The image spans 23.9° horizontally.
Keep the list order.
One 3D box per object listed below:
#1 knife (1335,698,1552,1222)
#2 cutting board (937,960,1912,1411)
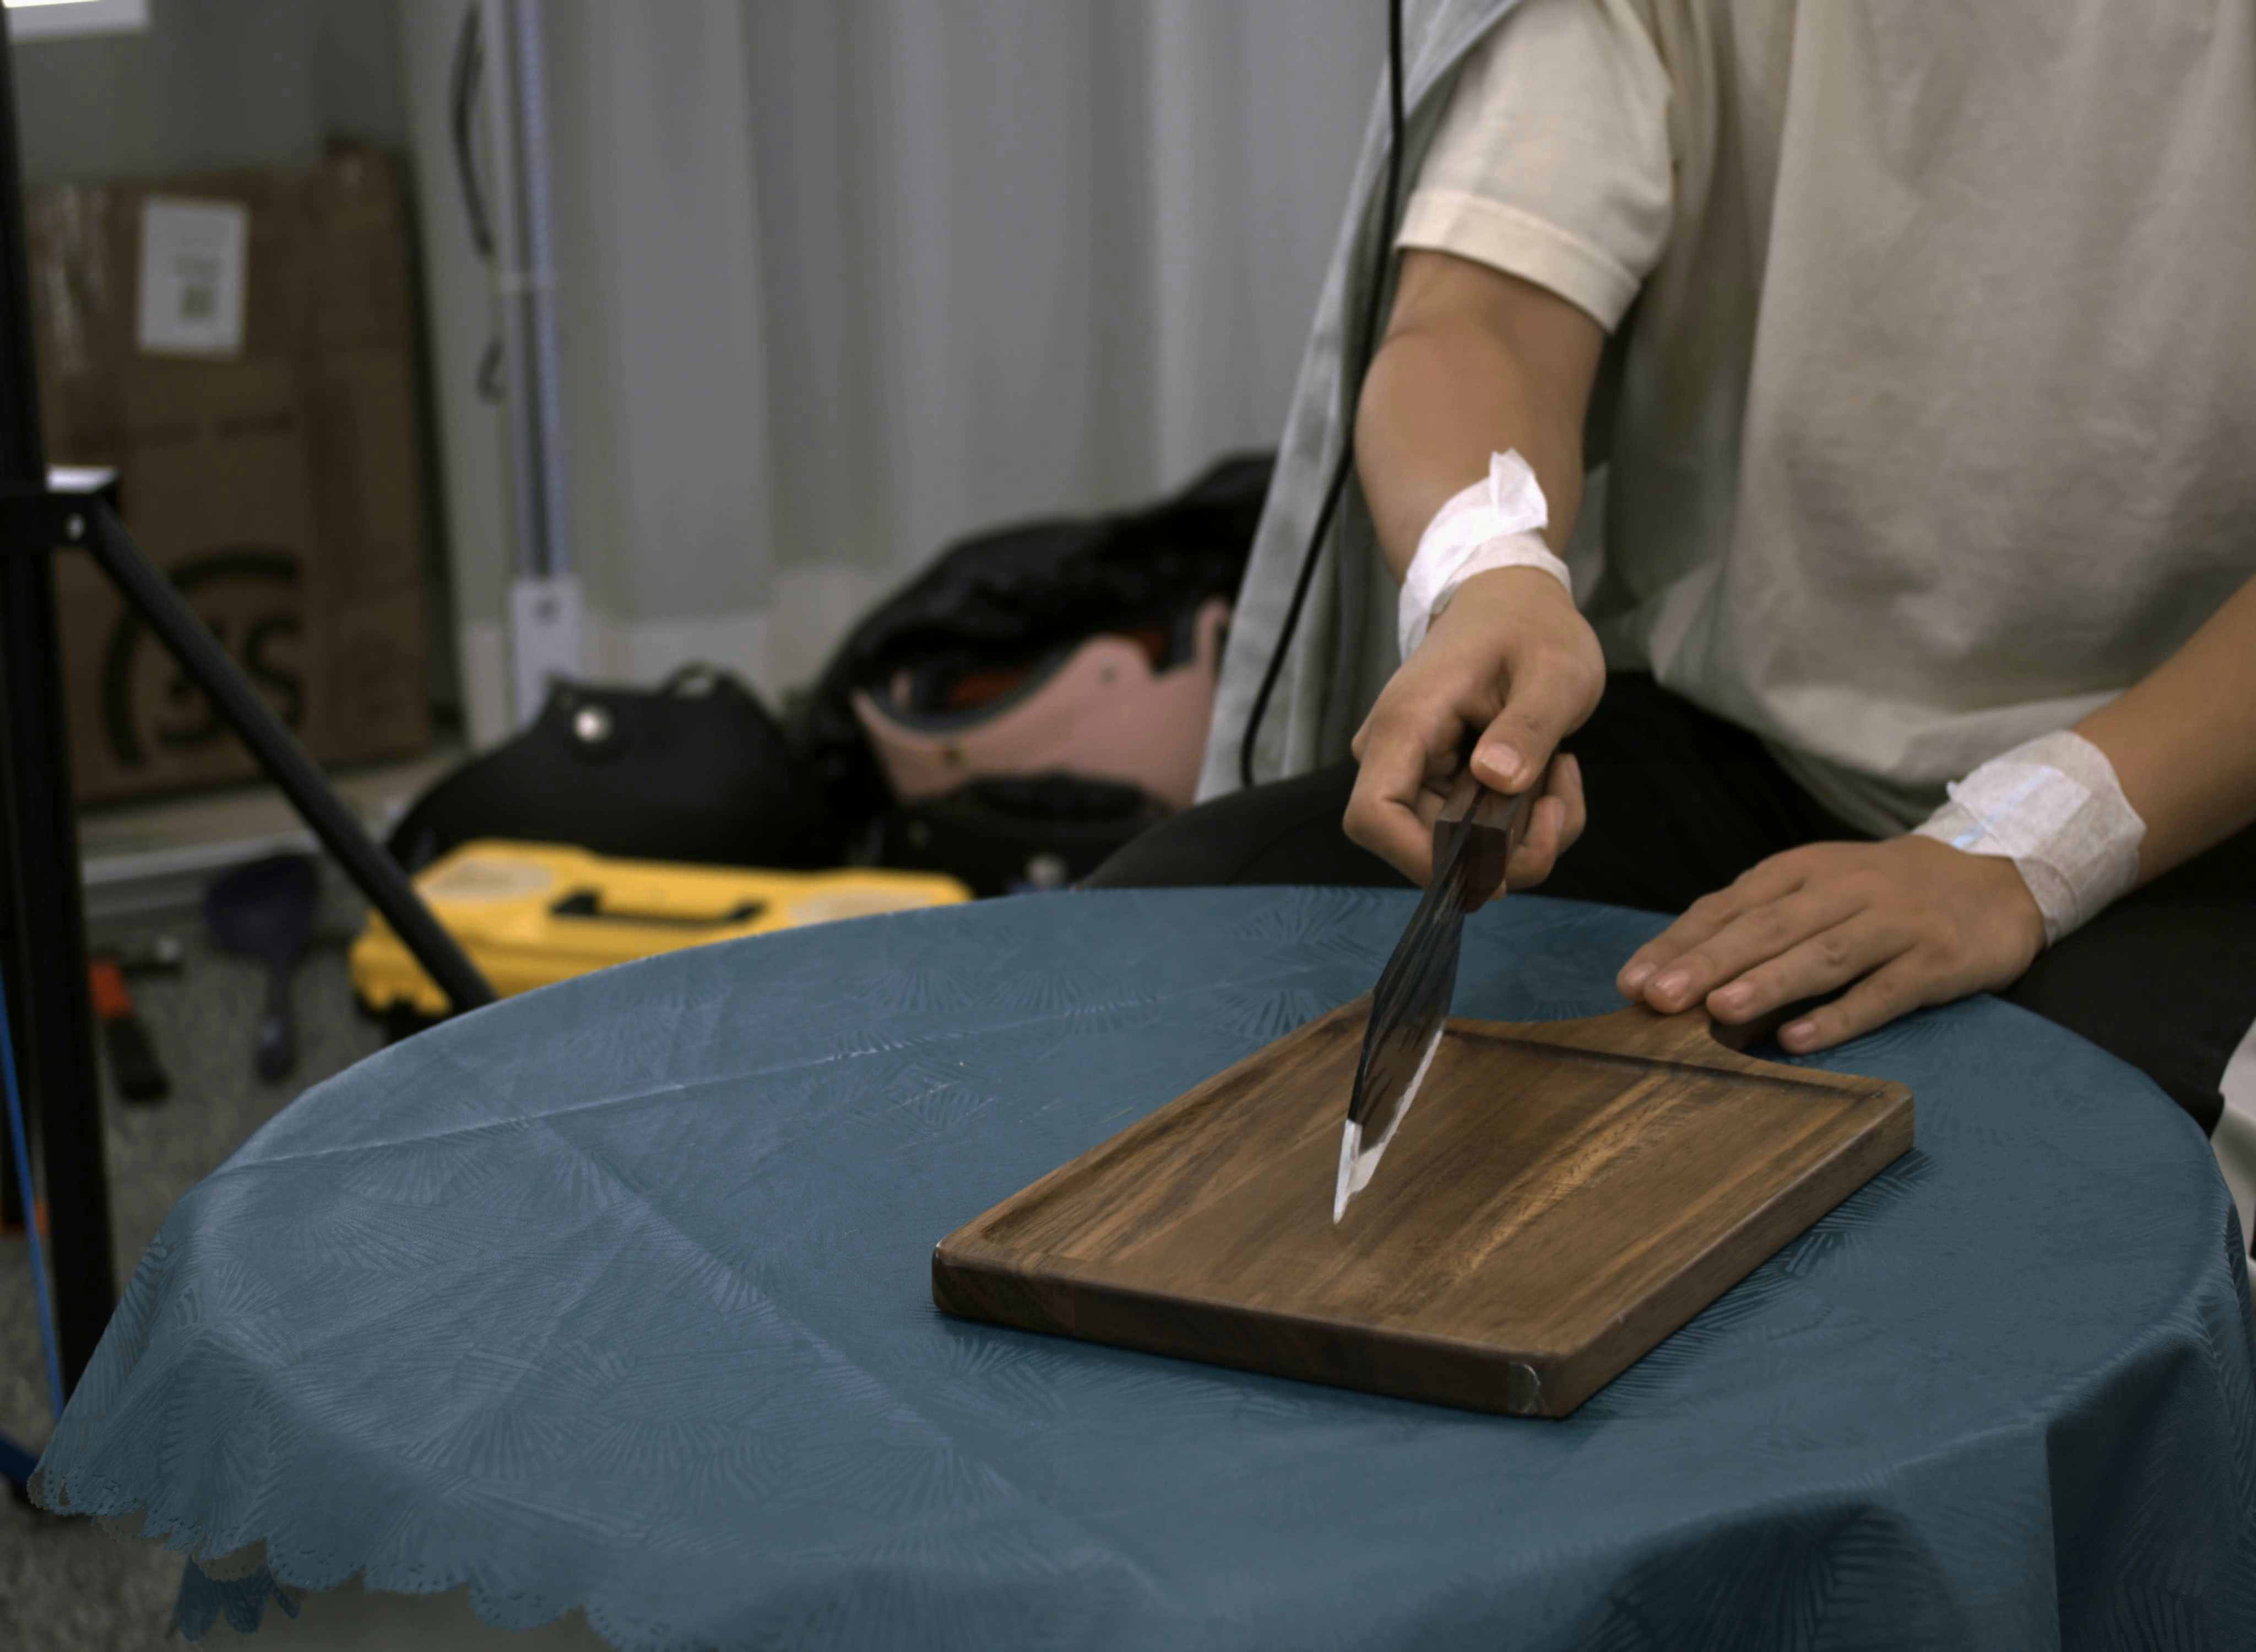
[{"bbox_3d":[0.093,0.036,1.591,0.024,0.068,0.298,9,23,11],"label":"knife"},{"bbox_3d":[0.114,0.095,1.554,0.204,0.023,0.346,5,16,30],"label":"cutting board"}]
